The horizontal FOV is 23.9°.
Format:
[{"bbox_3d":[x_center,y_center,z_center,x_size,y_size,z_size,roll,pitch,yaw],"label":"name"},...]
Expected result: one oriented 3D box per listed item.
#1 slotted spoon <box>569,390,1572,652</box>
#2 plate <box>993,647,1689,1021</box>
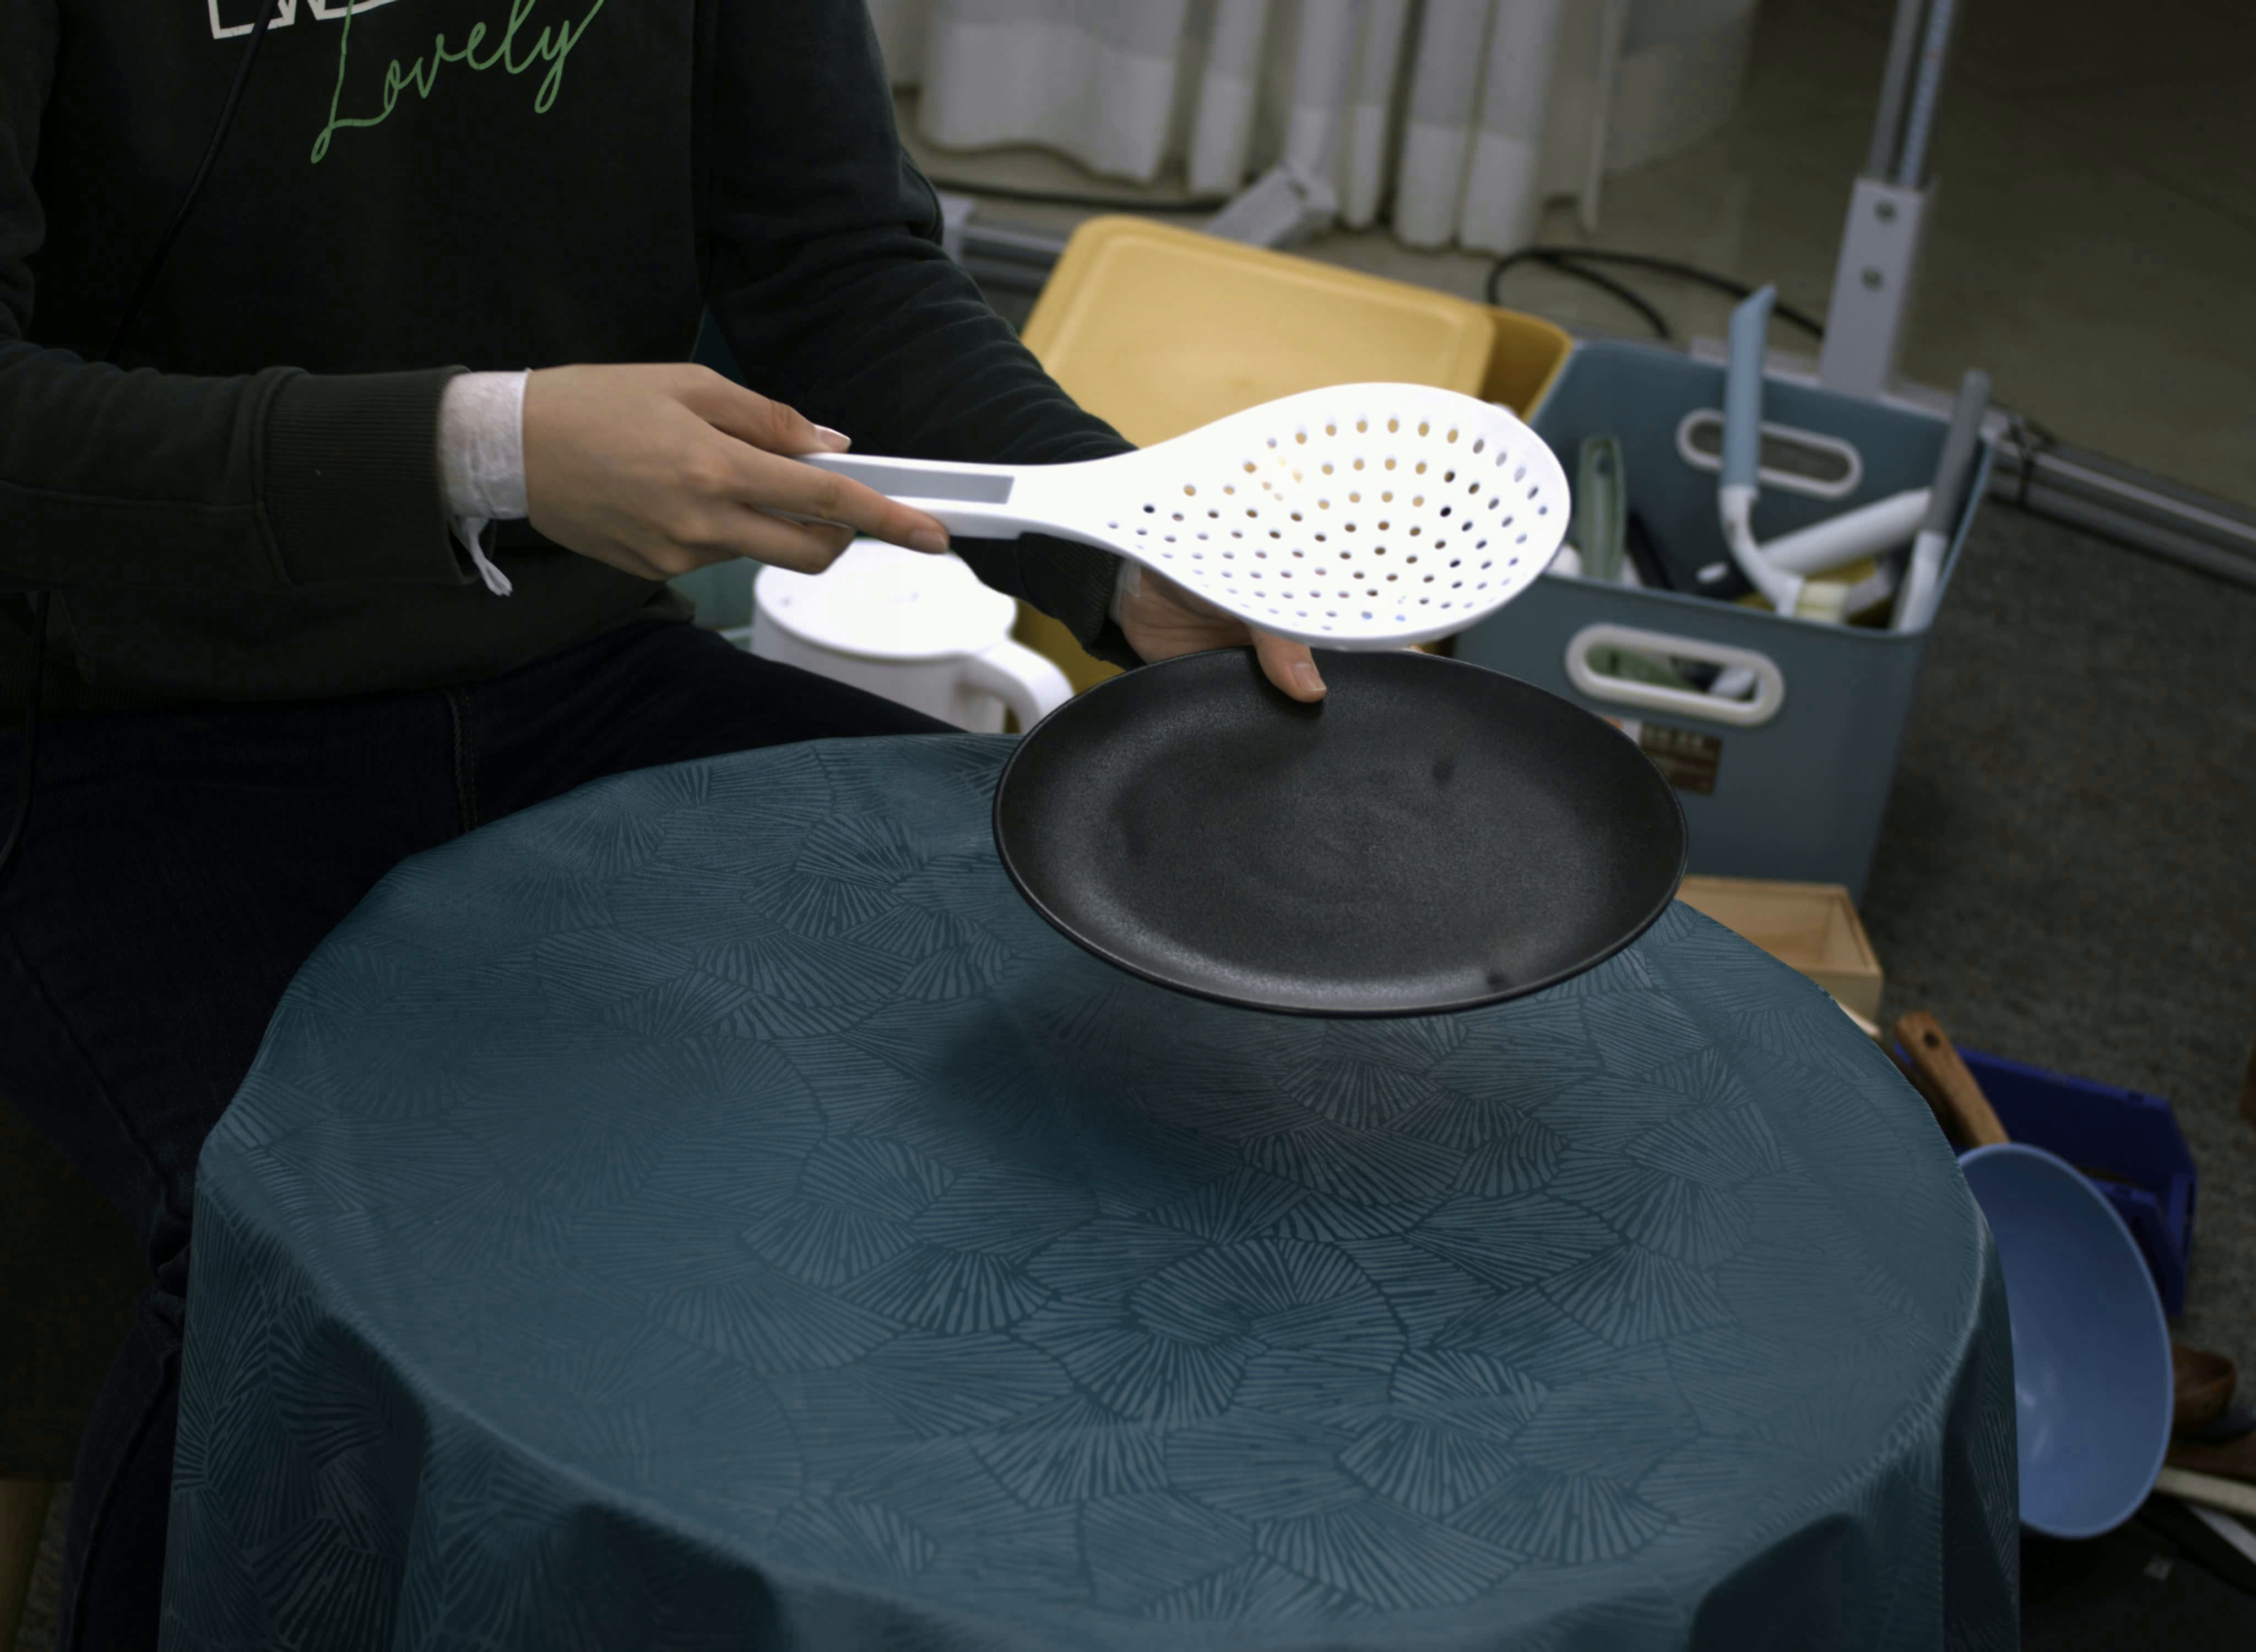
[{"bbox_3d":[-0.023,-0.110,1.833,0.349,0.045,0.137,8,42,7],"label":"slotted spoon"},{"bbox_3d":[0.074,0.006,1.858,0.243,0.023,0.246,1,31,-1],"label":"plate"}]
